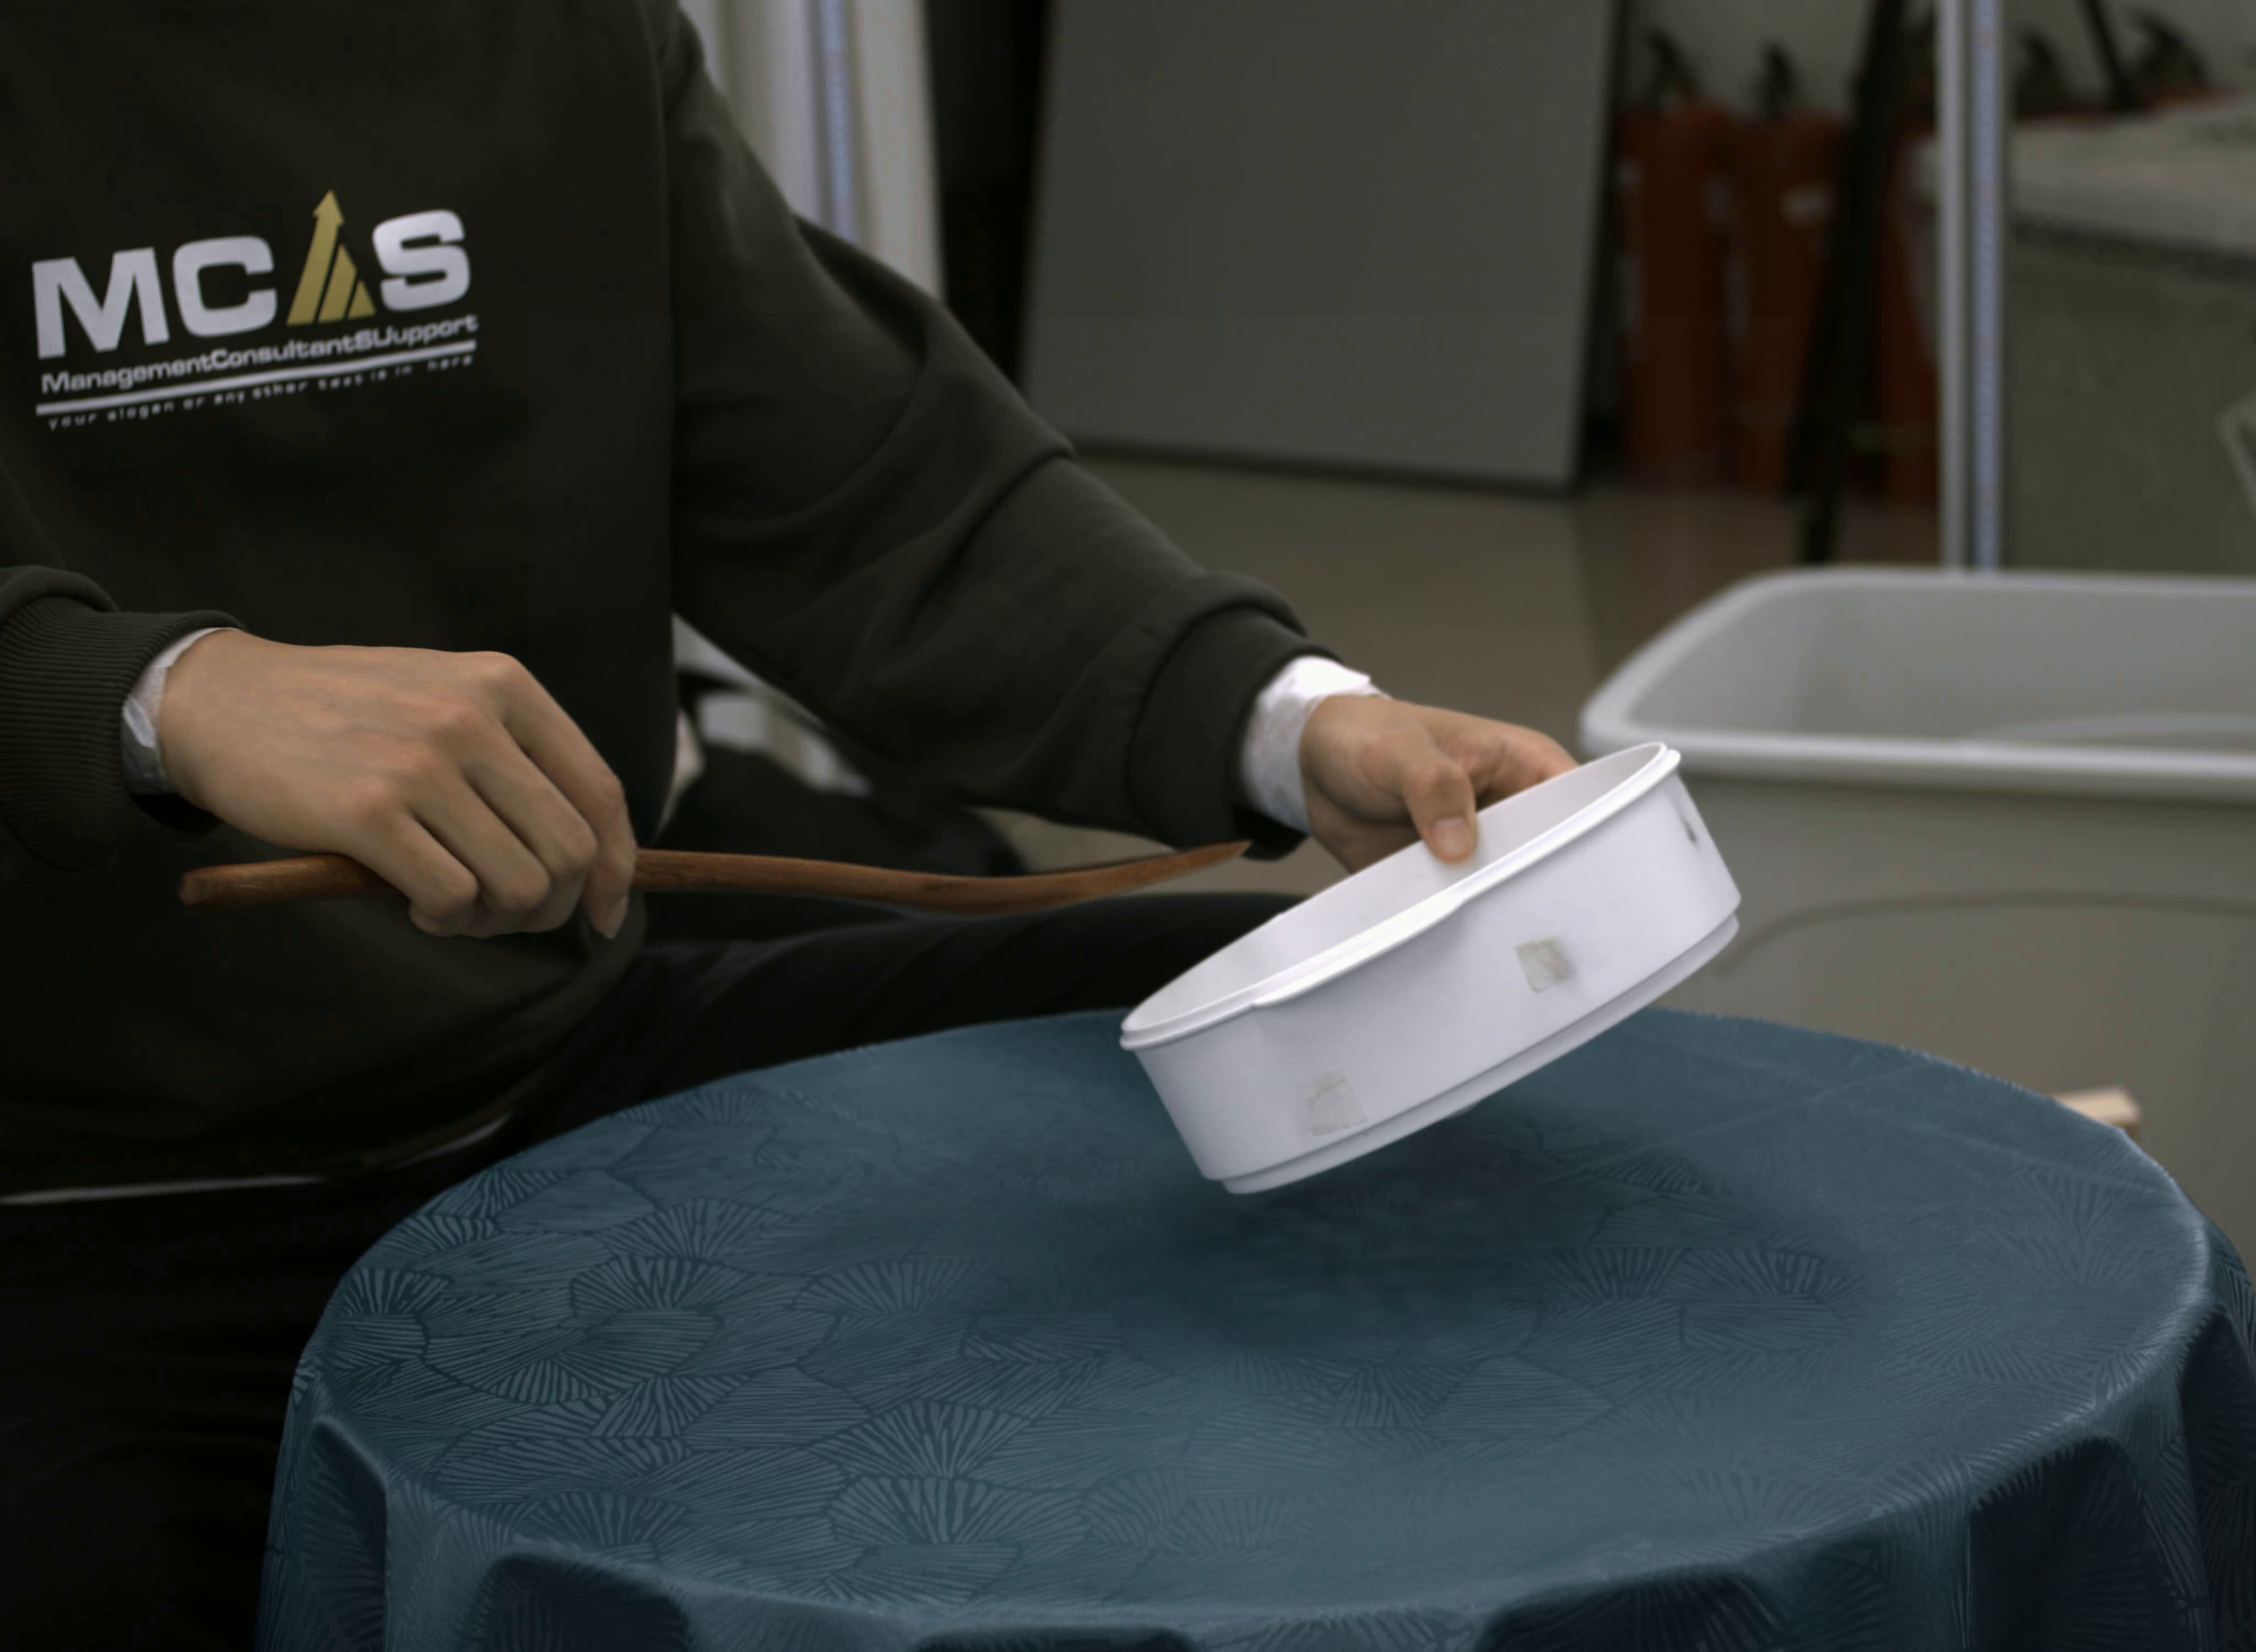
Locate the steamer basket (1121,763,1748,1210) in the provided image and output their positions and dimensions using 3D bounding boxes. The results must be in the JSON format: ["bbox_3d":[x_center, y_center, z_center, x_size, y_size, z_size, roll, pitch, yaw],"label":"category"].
[{"bbox_3d":[0.100,0.053,1.696,0.202,0.070,0.228,-27,-3,14],"label":"steamer basket"}]

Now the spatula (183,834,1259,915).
[{"bbox_3d":[-0.119,0.016,1.649,0.376,0.024,0.086,0,-4,-40],"label":"spatula"}]
